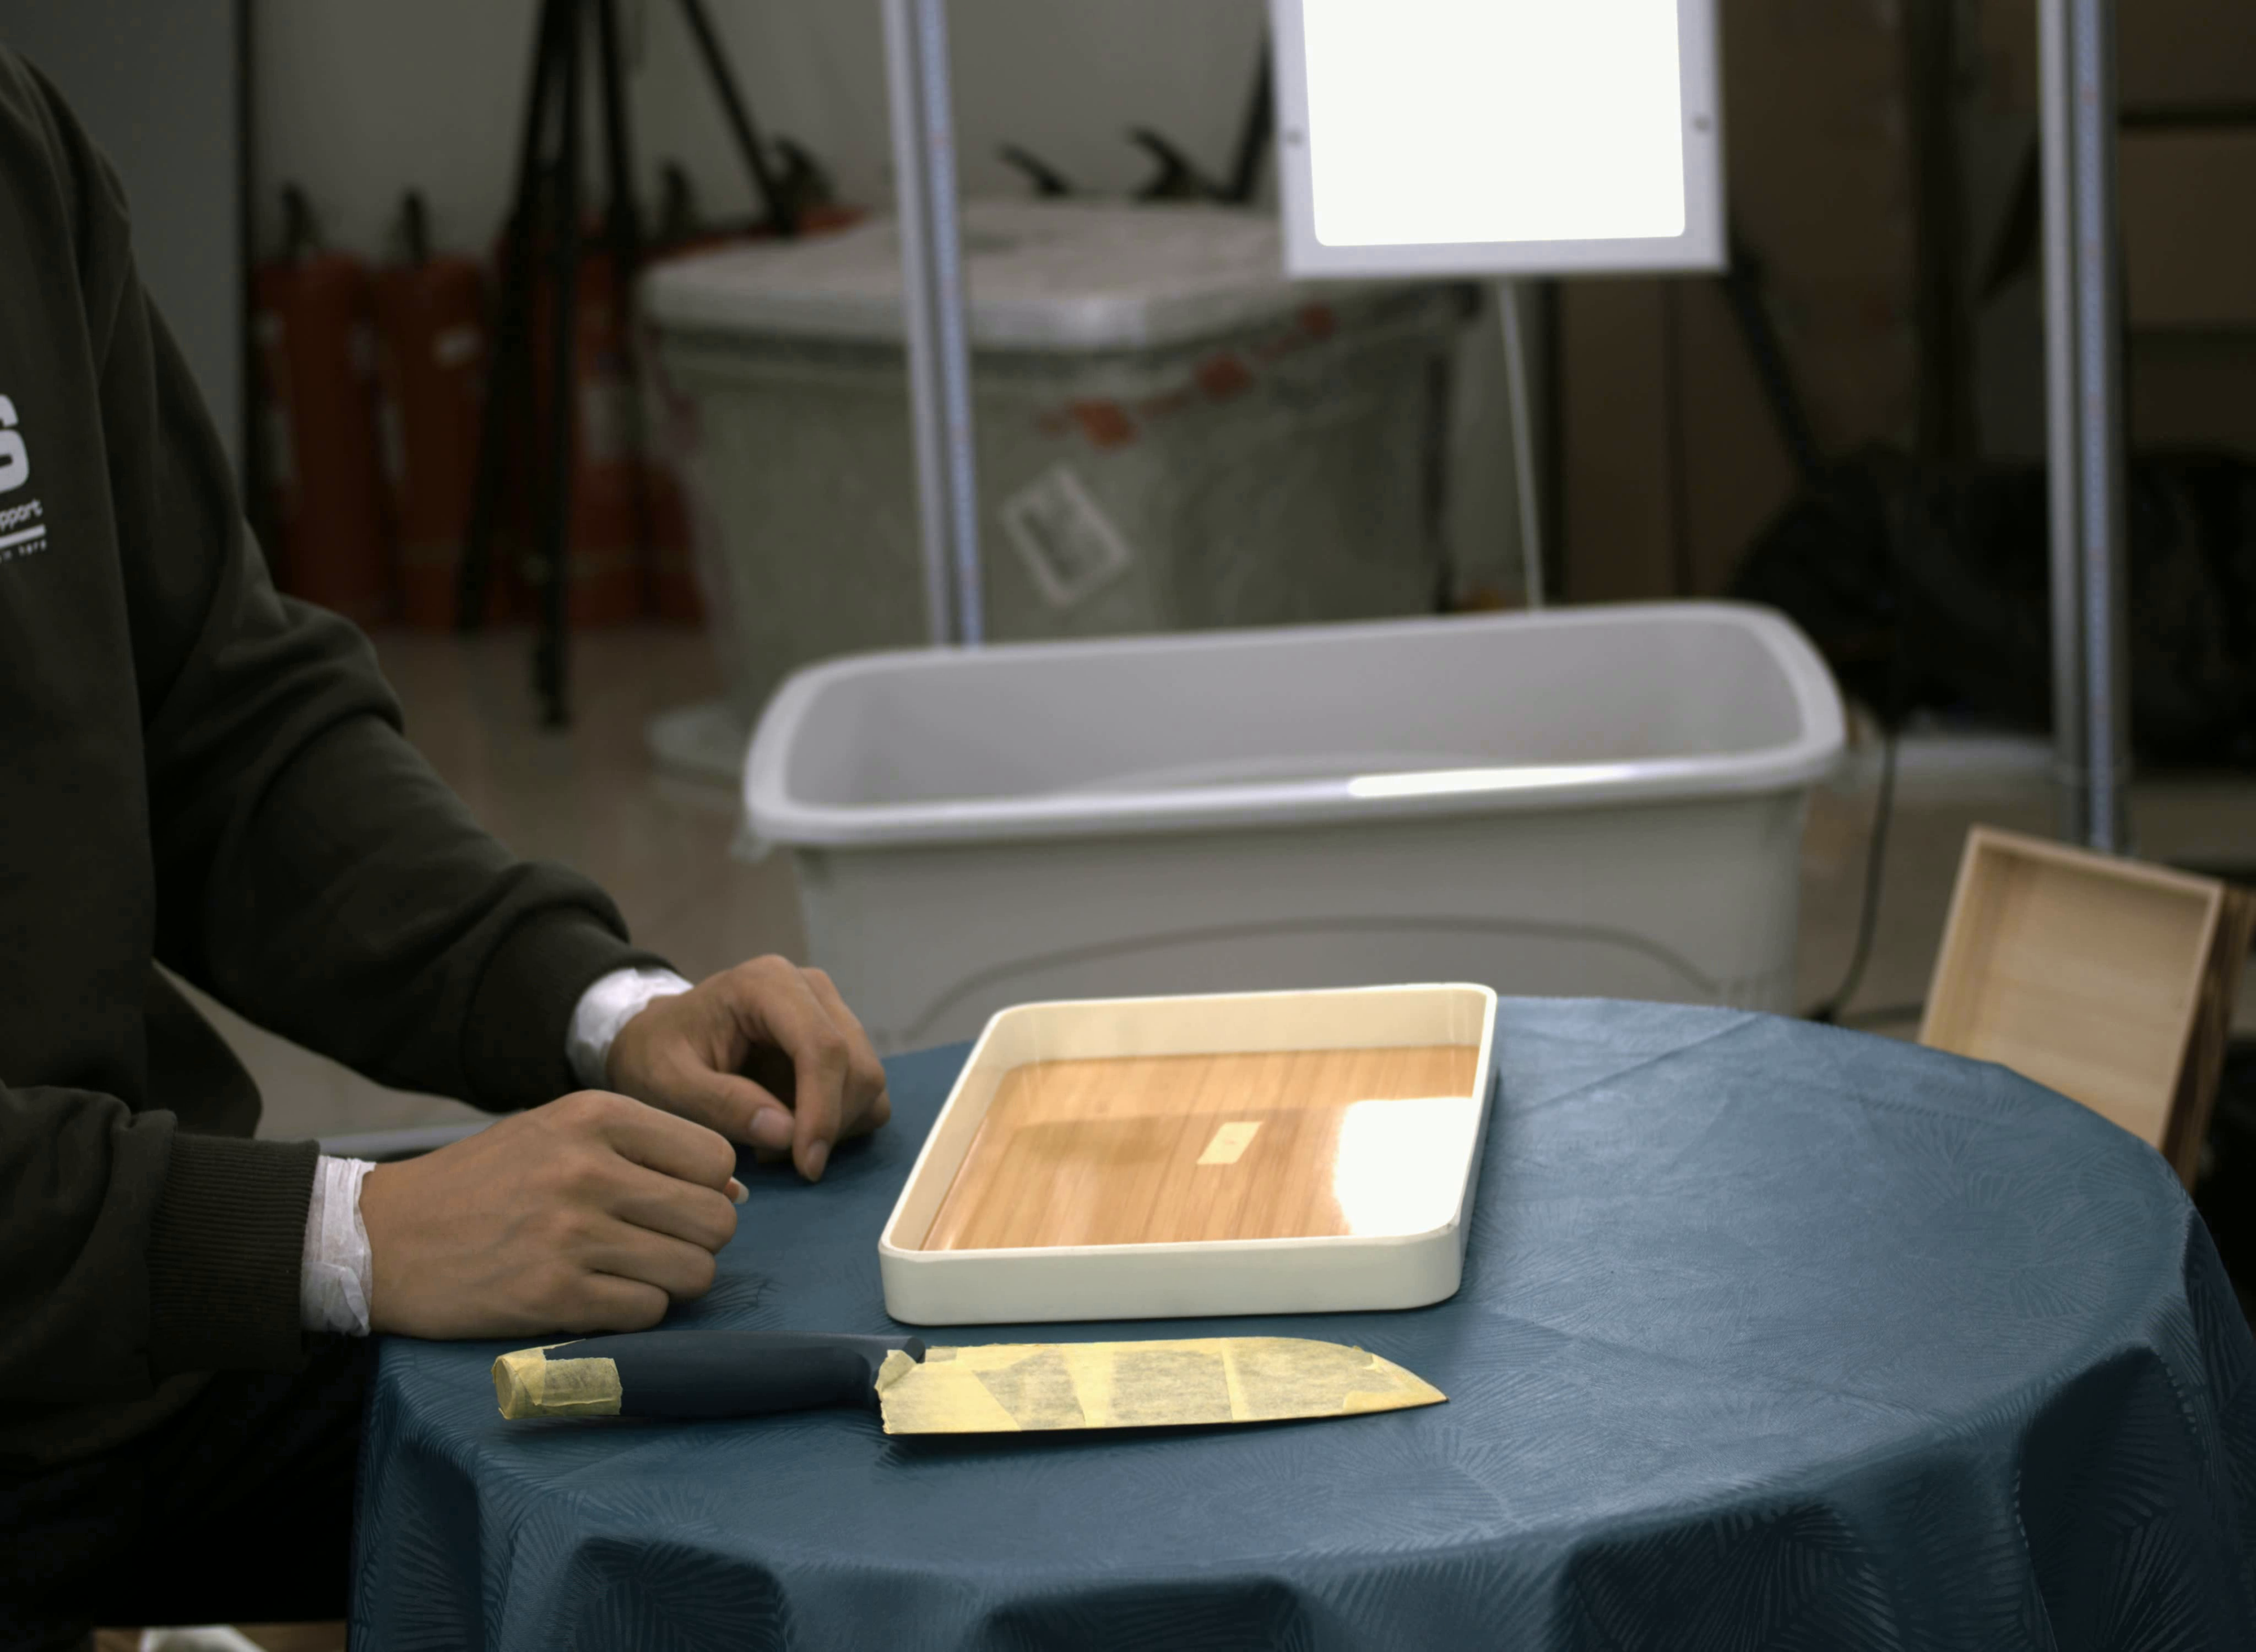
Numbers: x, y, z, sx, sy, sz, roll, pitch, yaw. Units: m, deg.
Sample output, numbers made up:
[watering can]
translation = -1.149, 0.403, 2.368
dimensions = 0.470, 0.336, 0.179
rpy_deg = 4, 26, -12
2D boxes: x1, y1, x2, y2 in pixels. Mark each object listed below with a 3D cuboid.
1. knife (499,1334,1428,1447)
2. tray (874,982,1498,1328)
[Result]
[knife]
translation = -0.051, 0.175, 1.695
dimensions = 0.289, 0.027, 0.080
rpy_deg = -3, 12, 4
[tray]
translation = 0.027, 0.110, 1.904
dimensions = 0.192, 0.027, 0.297
rpy_deg = -4, 13, 9
